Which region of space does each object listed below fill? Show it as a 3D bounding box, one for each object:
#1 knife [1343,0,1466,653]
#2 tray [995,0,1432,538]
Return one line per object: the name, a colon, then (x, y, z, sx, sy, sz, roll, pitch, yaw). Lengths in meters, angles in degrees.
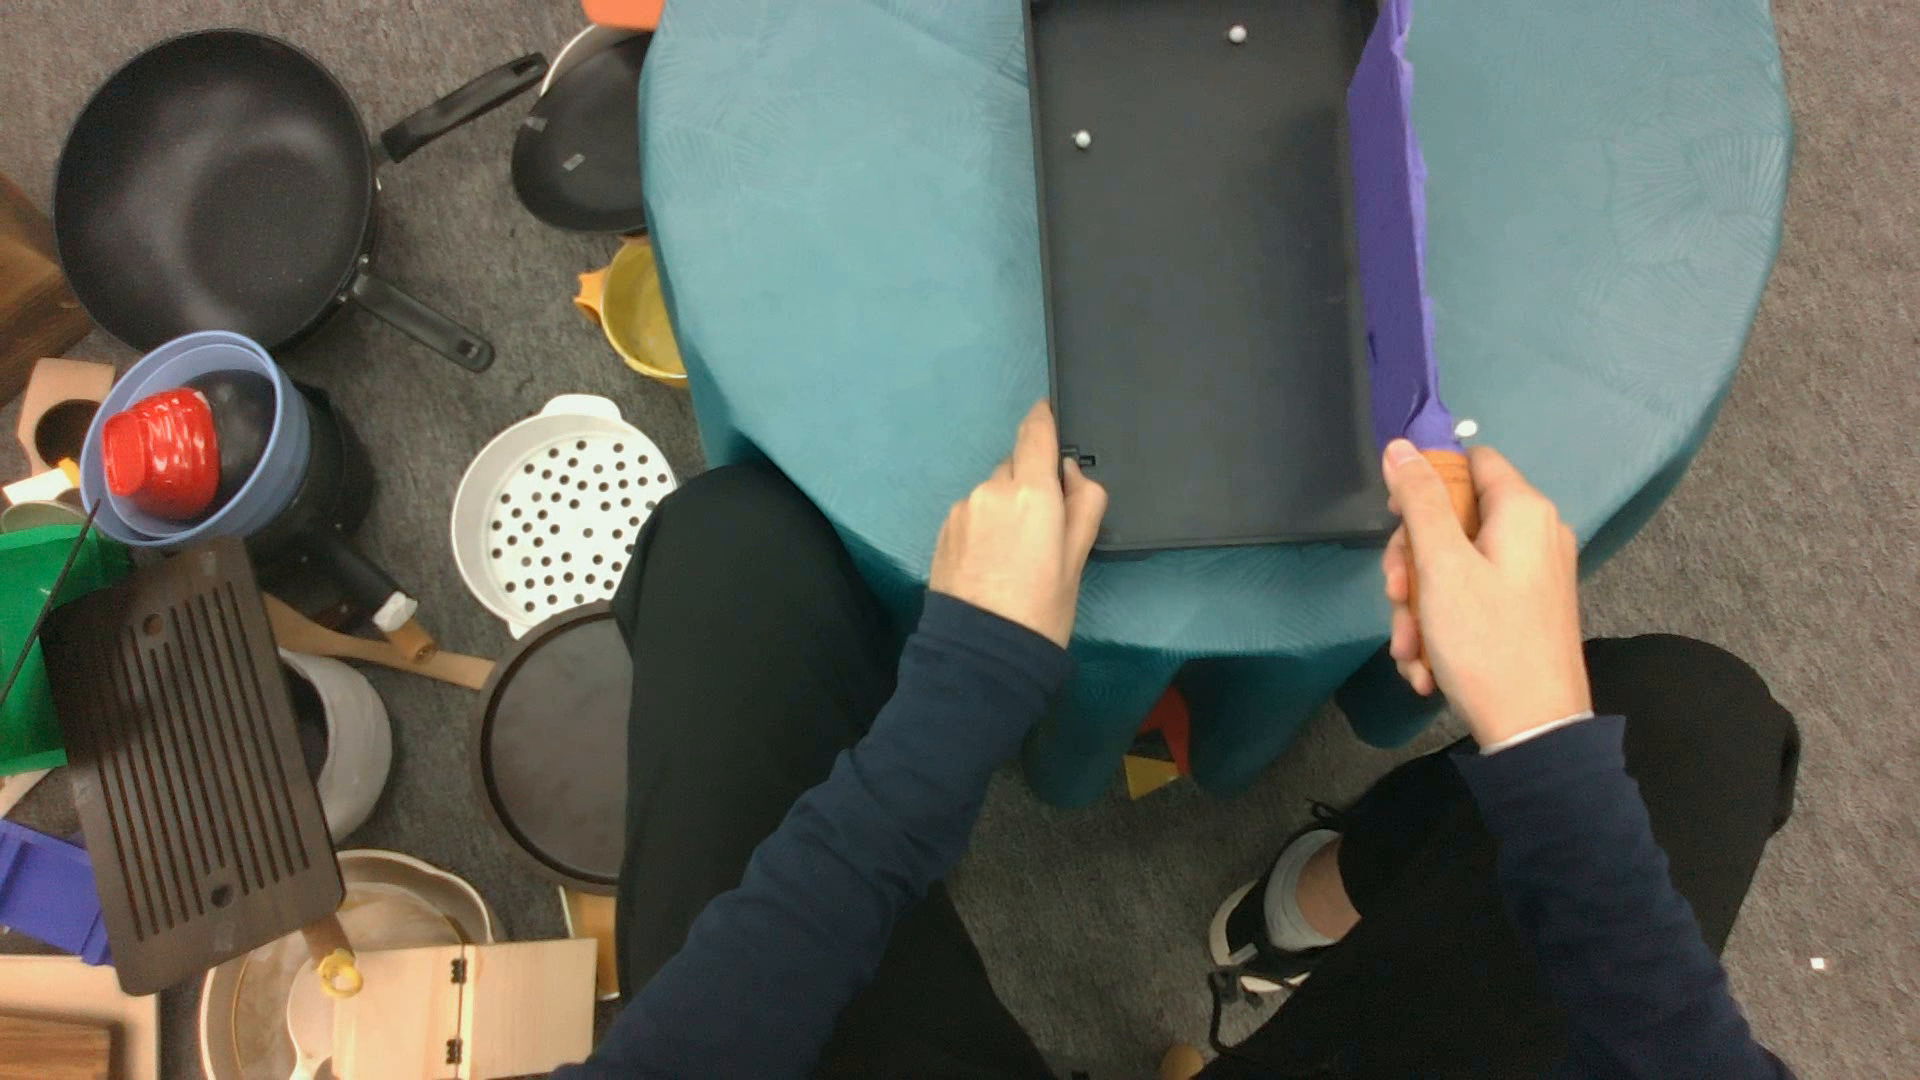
knife: (0.200, -0.104, 0.630, 0.032, 0.104, 0.316, -6, 79, 20)
tray: (0.119, -0.161, 0.690, 0.184, 0.037, 0.318, -4, 77, -2)
